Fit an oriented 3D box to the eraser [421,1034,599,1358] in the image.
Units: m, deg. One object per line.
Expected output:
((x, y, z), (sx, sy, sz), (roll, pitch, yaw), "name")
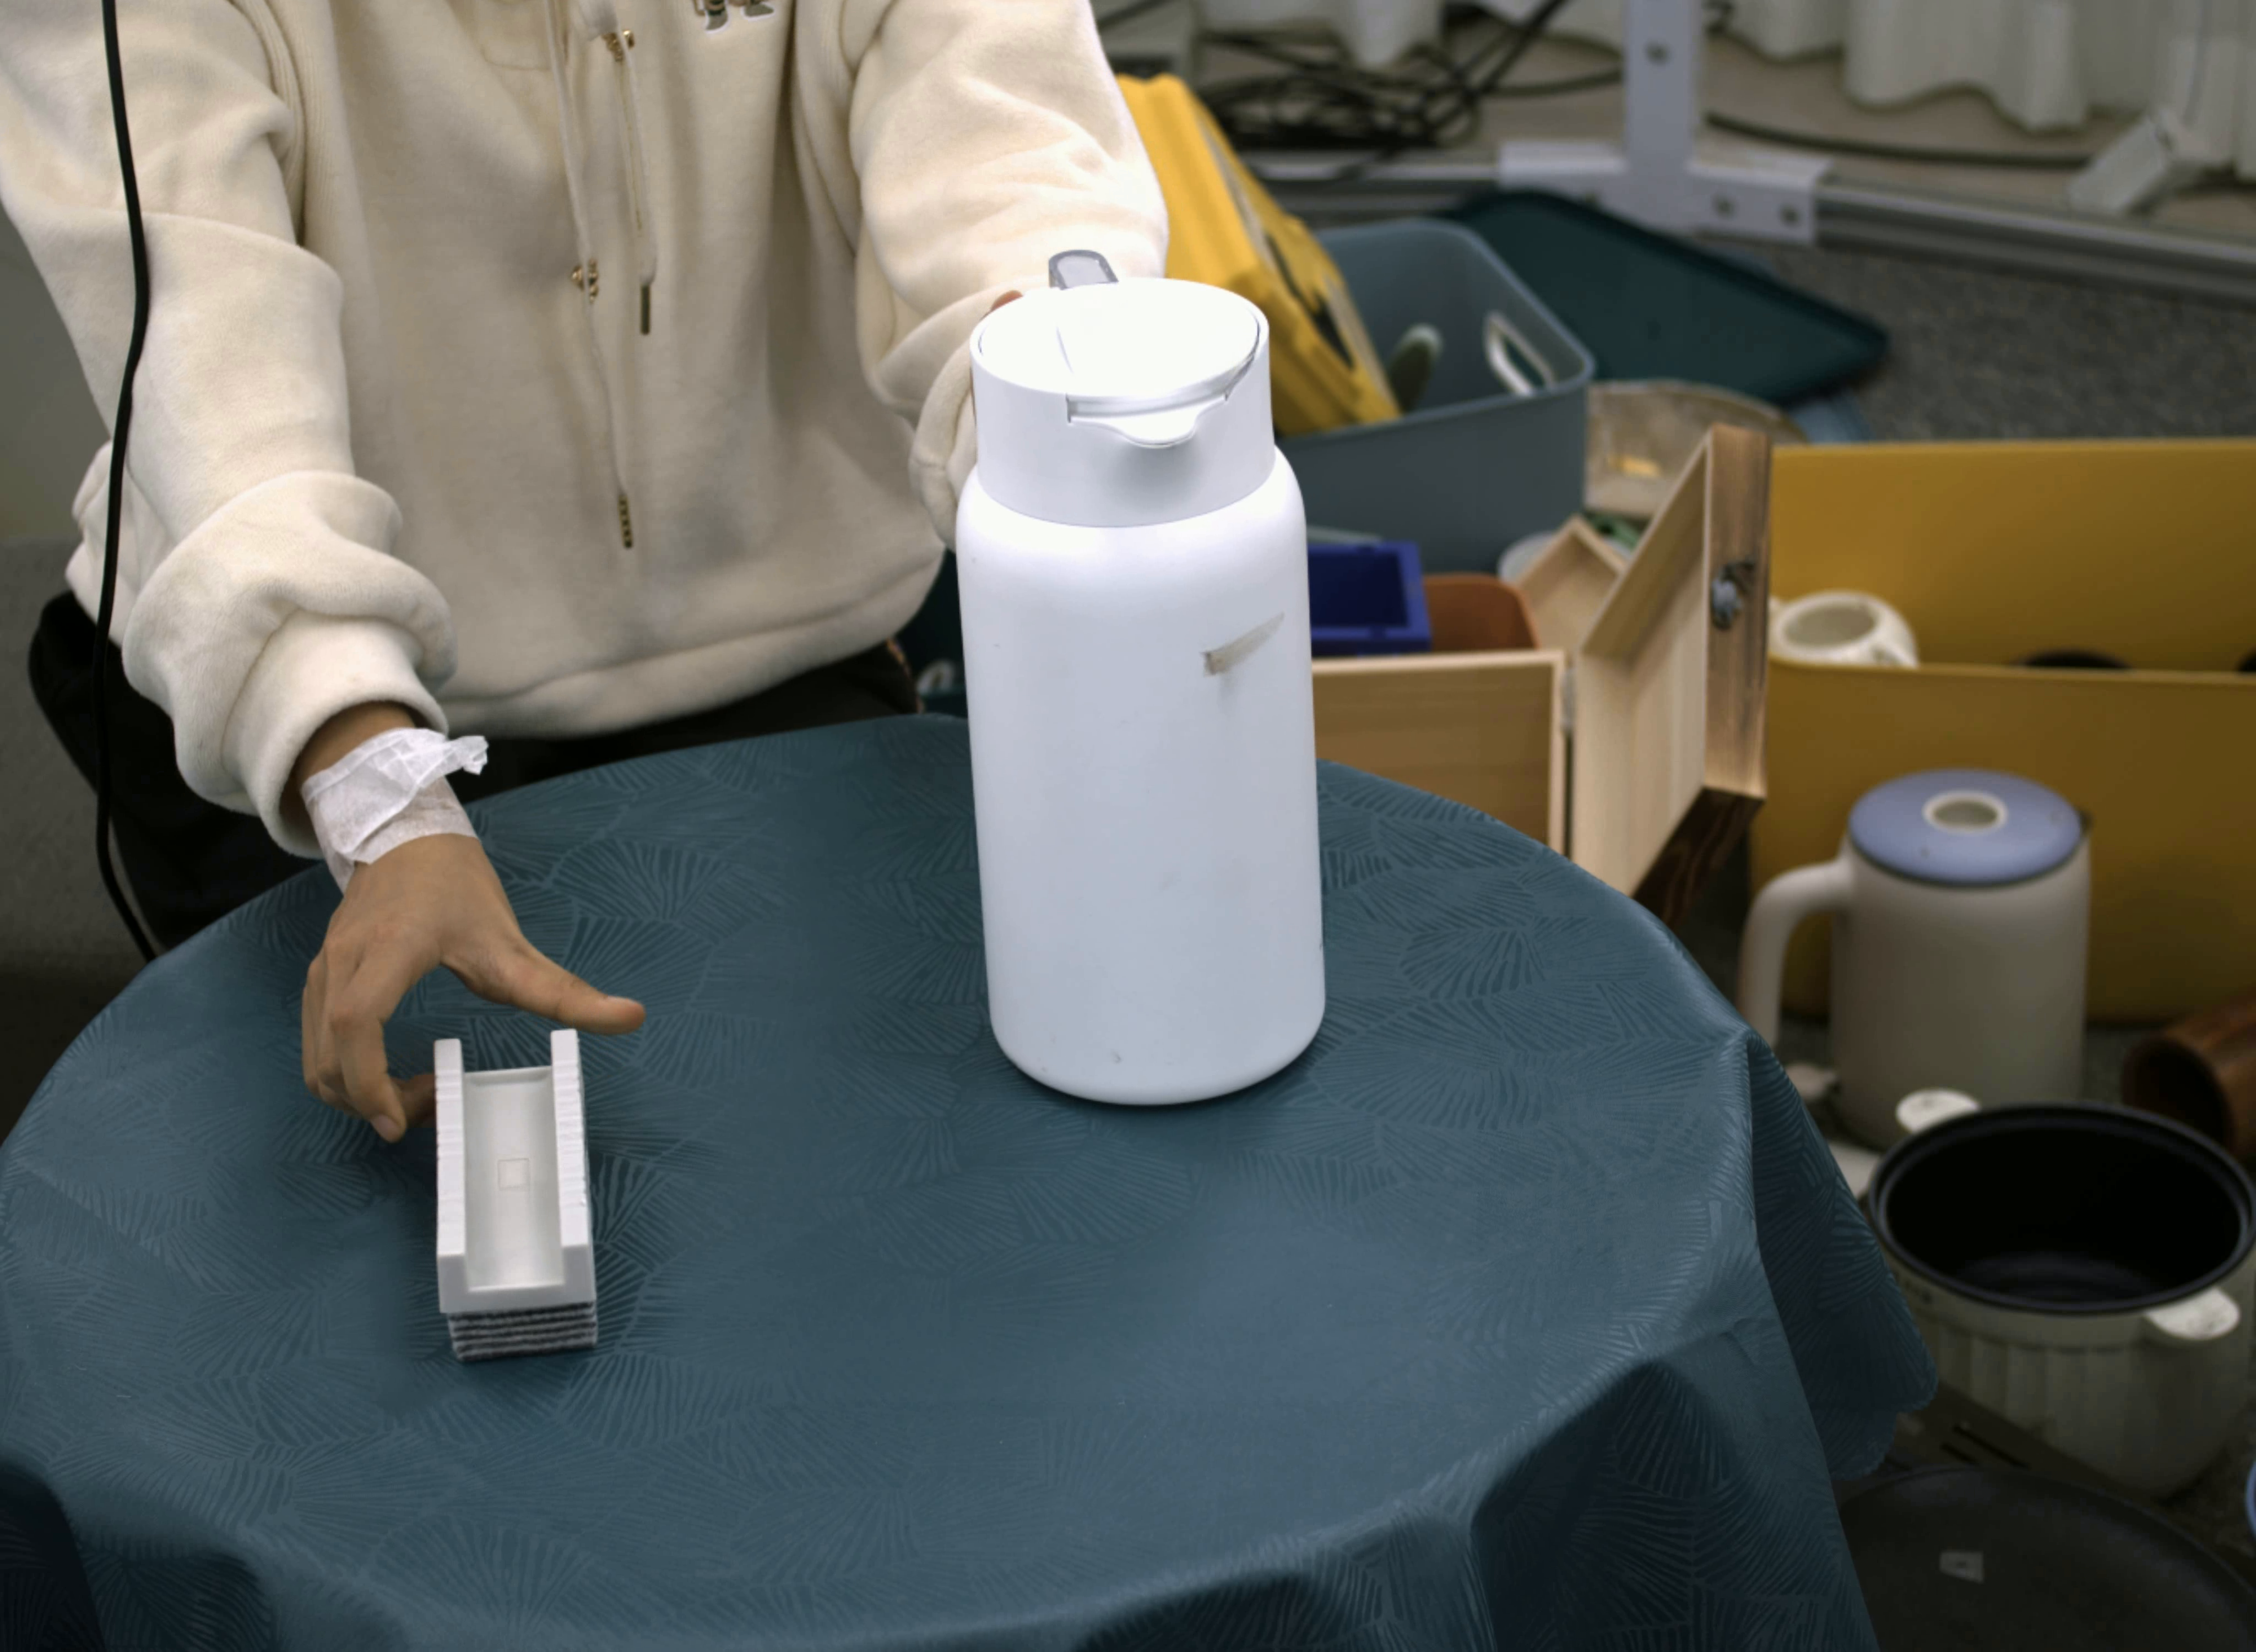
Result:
((-0.202, 0.120, 1.834), (0.049, 0.046, 0.136), (-8, 28, -6), "eraser")

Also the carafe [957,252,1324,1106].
((-0.001, -0.053, 1.914), (0.124, 0.266, 0.175), (-10, 27, -9), "carafe")
